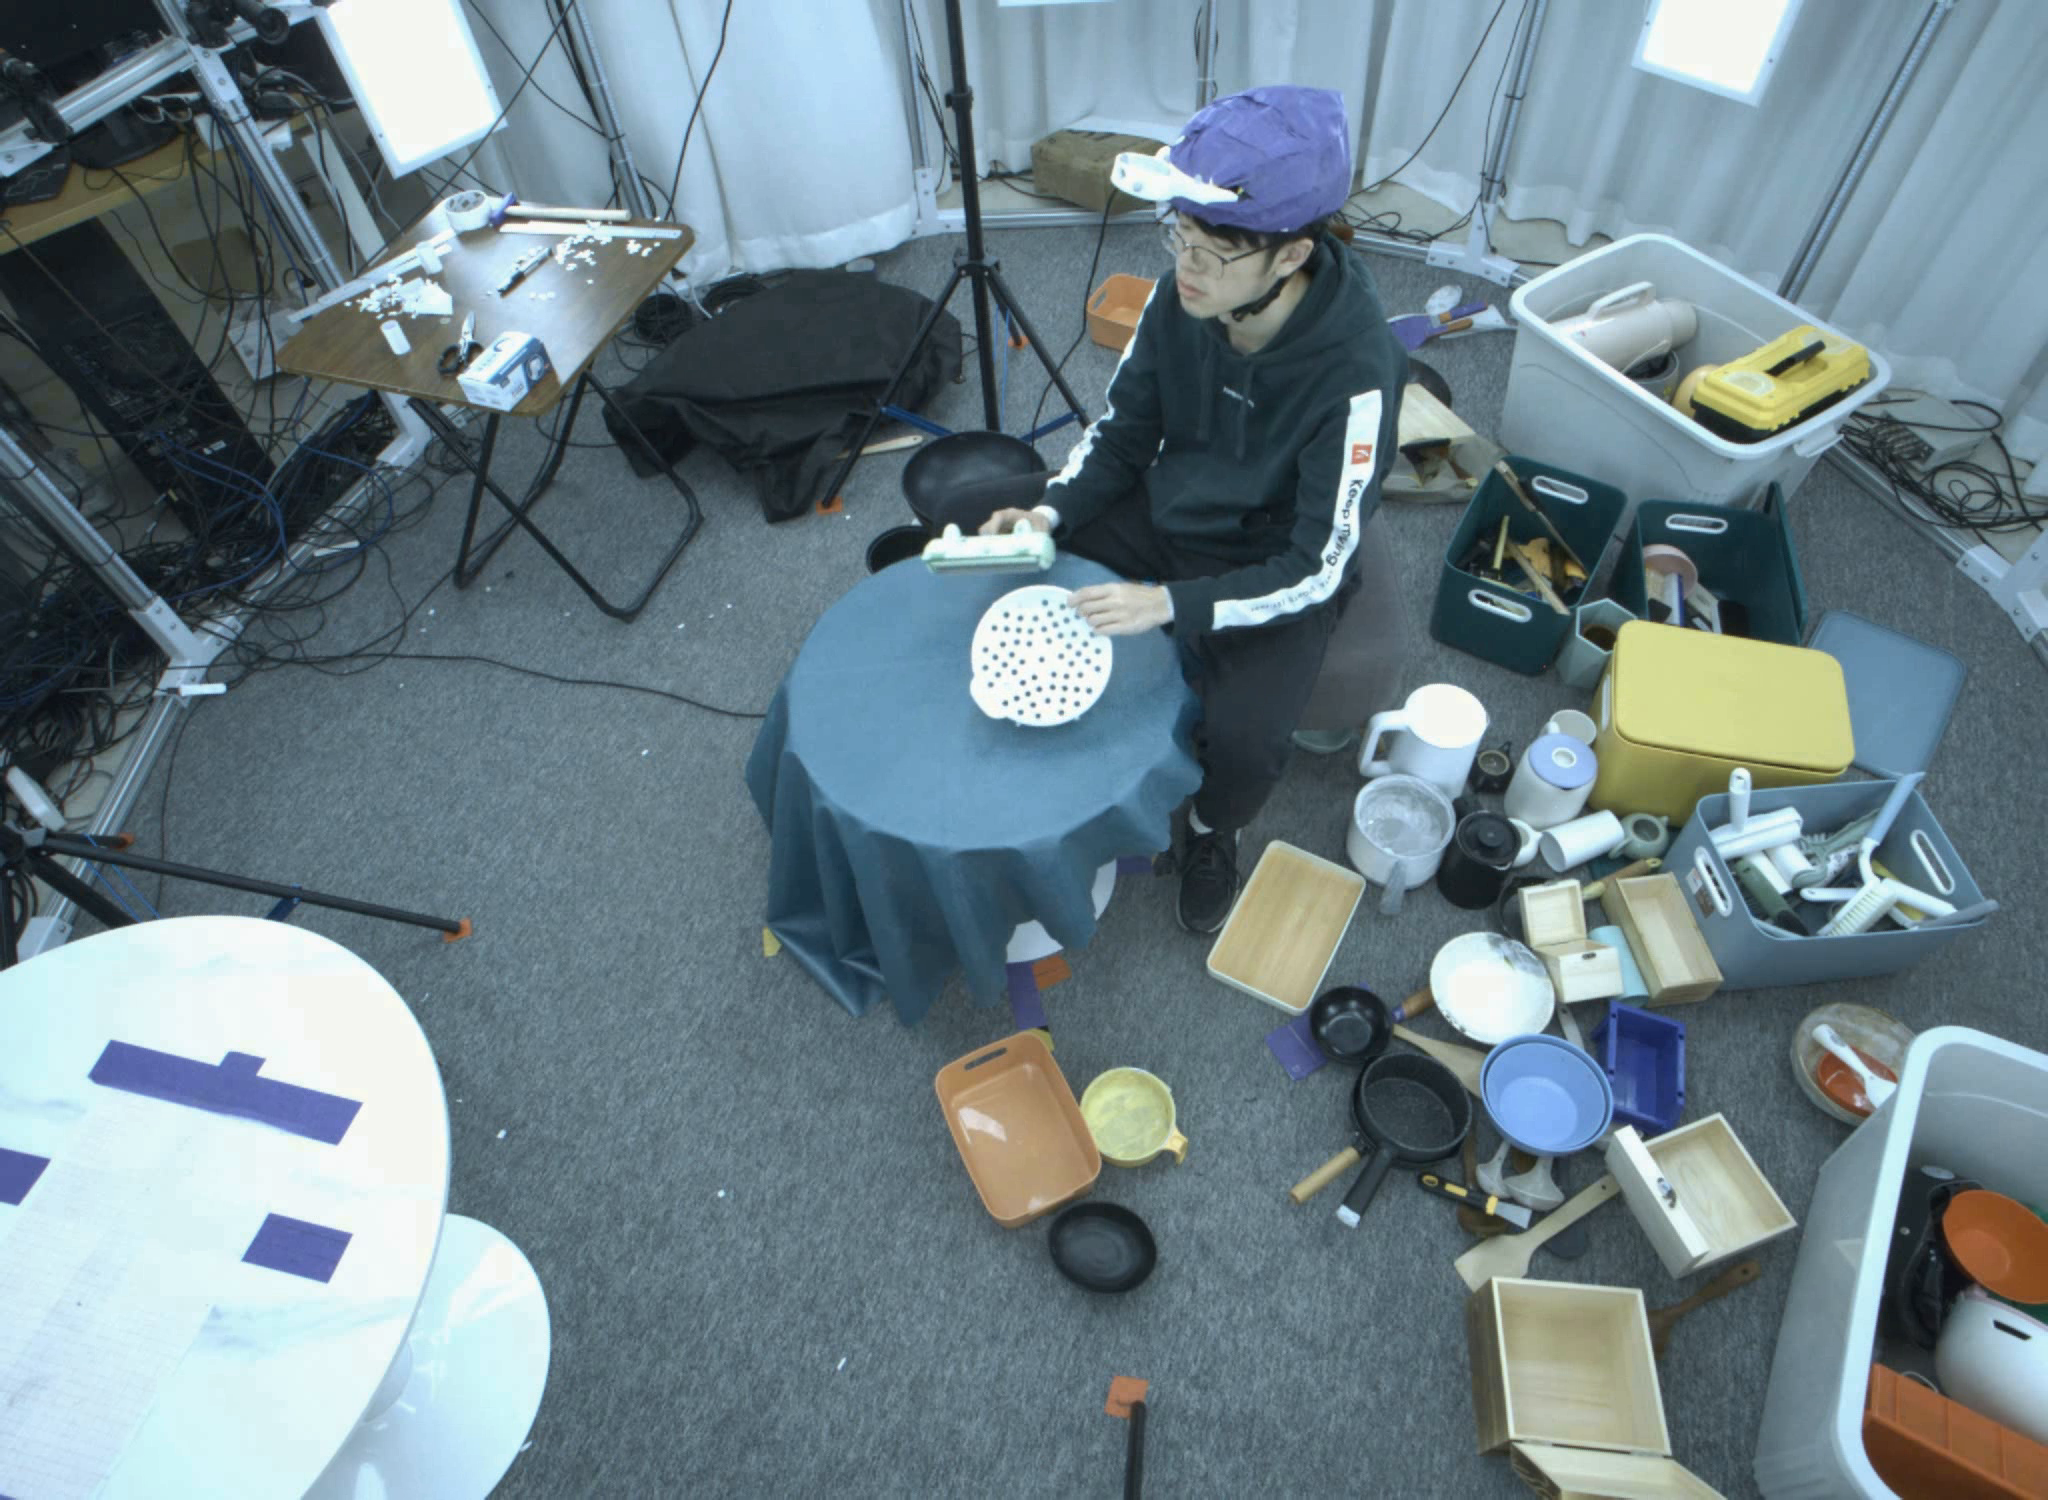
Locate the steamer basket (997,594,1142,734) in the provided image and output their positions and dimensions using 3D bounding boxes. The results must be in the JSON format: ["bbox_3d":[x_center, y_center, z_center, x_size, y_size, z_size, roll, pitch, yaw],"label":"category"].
[{"bbox_3d":[0.065,-0.122,1.776,0.230,0.069,0.201,-37,89,1],"label":"steamer basket"}]

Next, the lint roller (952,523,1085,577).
[{"bbox_3d":[0.011,-0.320,1.874,0.195,0.083,0.184,3,29,23],"label":"lint roller"}]
